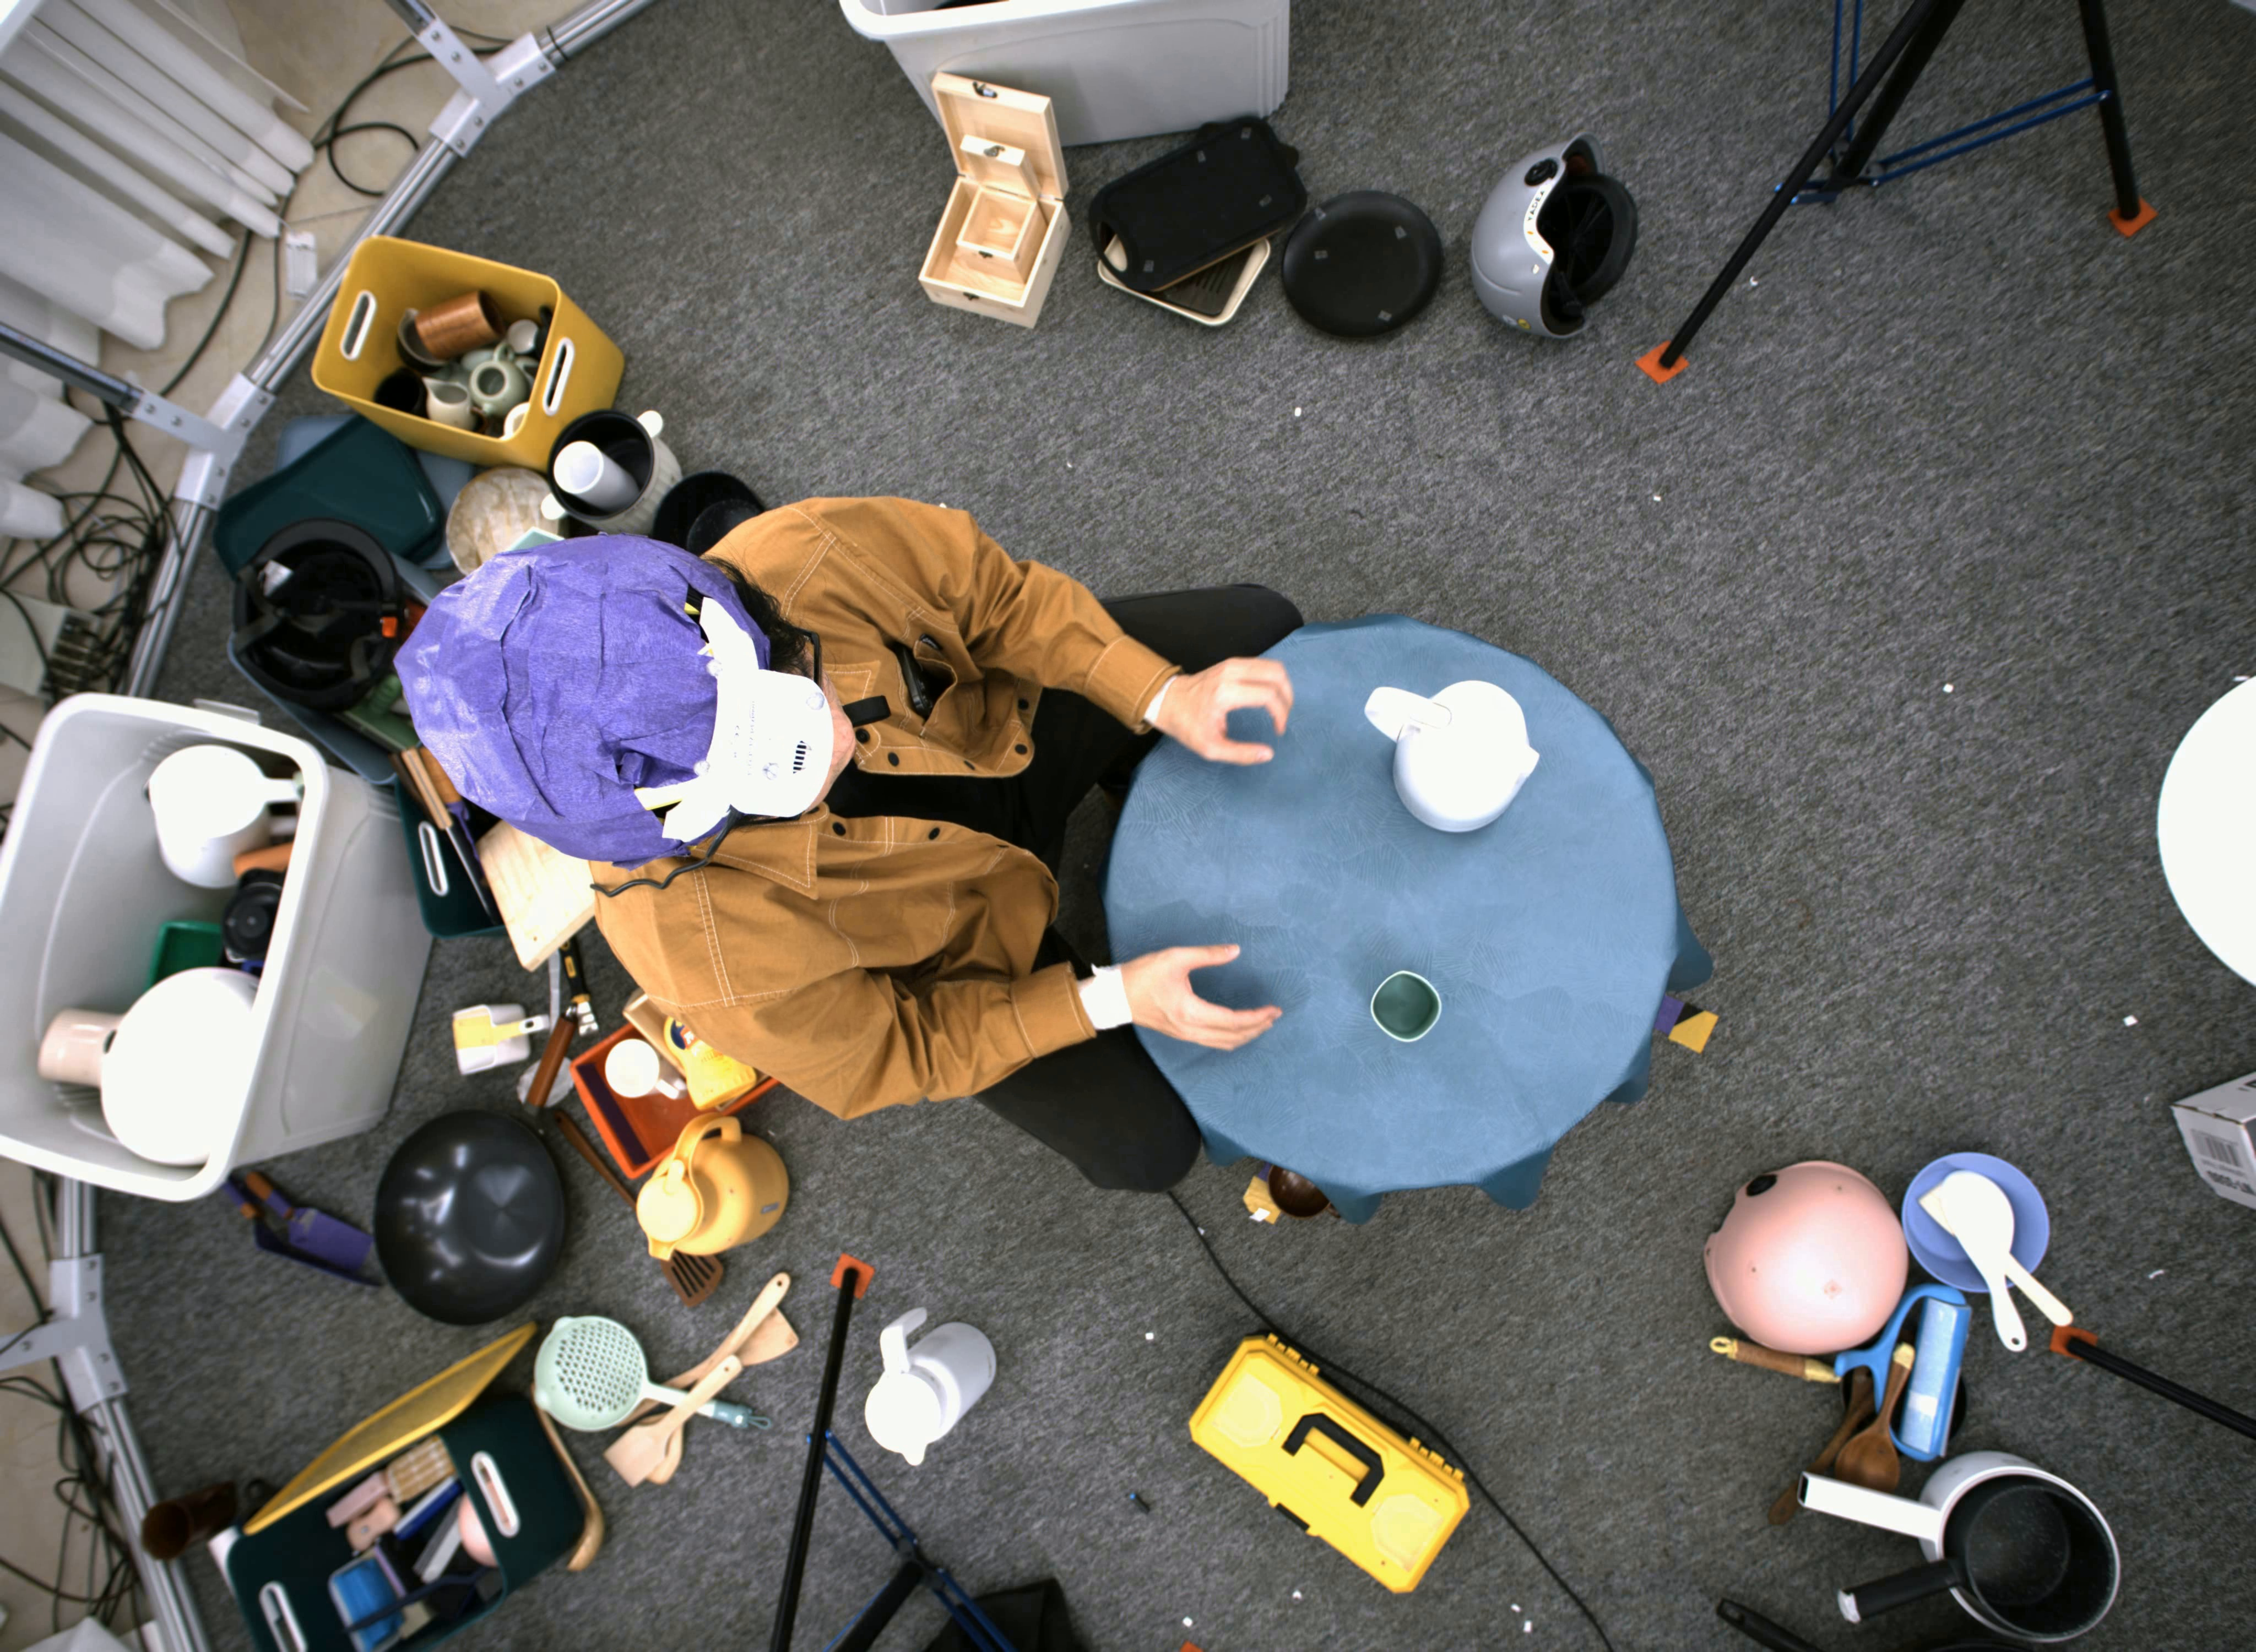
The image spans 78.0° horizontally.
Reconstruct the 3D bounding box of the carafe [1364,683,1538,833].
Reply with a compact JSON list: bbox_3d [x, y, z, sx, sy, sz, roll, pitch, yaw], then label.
[{"bbox_3d":[0.308,-0.080,1.336,0.167,0.249,0.132,26,90,12],"label":"carafe"}]

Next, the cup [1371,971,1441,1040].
[{"bbox_3d":[0.277,0.179,1.392,0.067,0.132,0.066,-1,84,10],"label":"cup"}]
